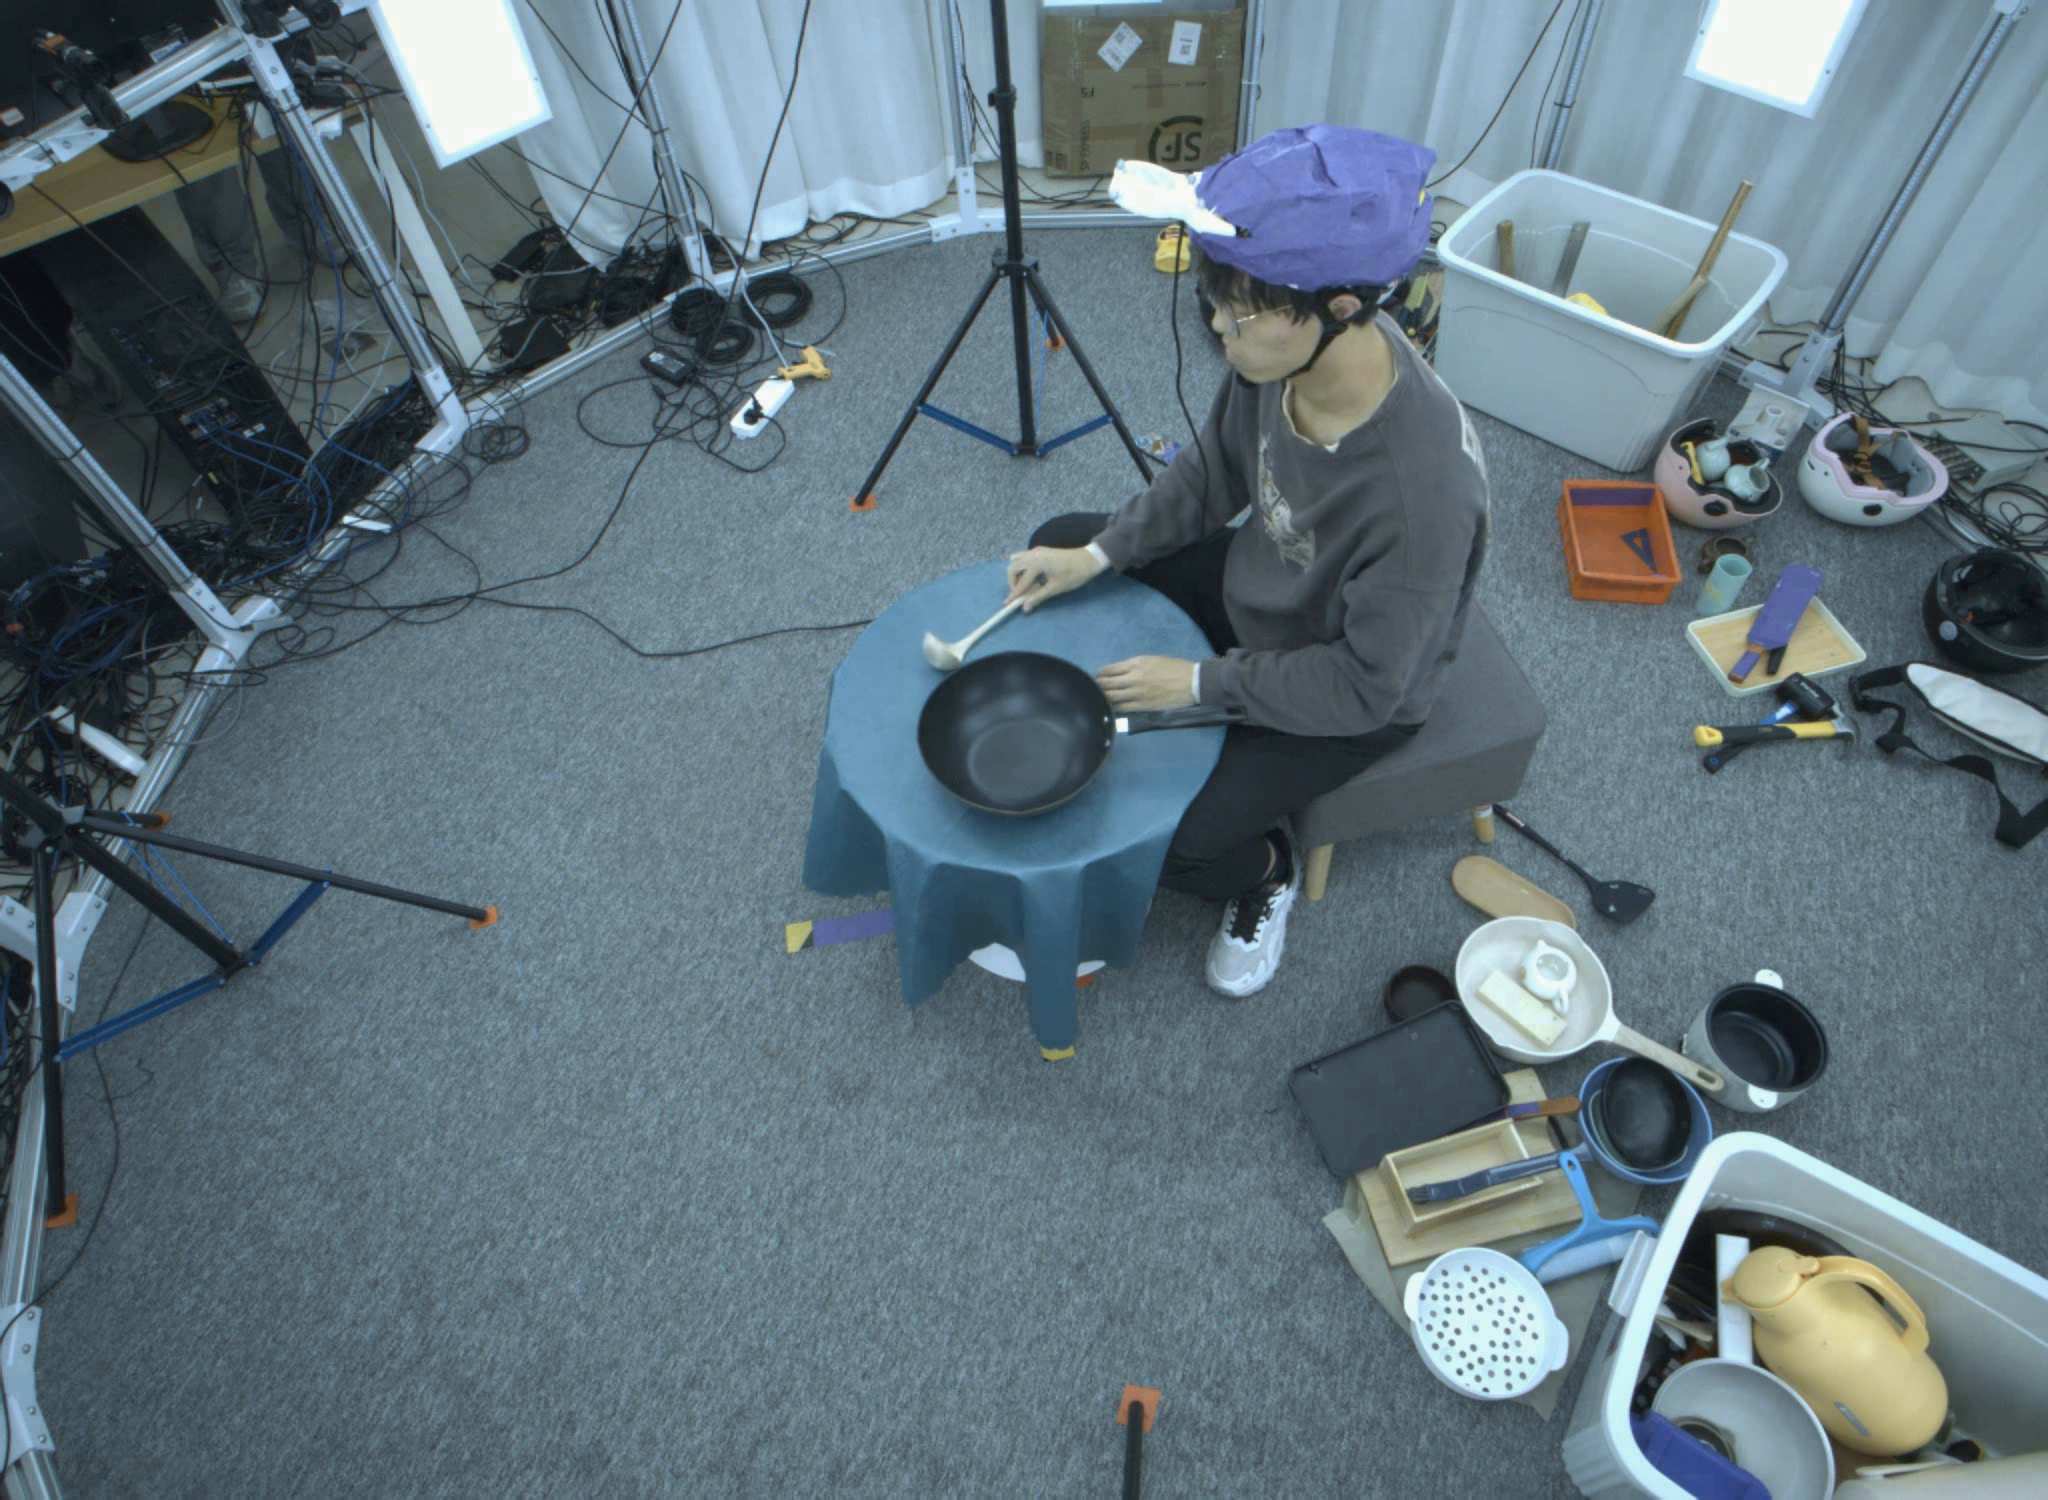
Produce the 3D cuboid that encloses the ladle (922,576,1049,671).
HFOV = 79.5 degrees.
[{"bbox_3d":[-0.052,-0.216,1.893,0.071,0.073,0.256,39,67,21],"label":"ladle"}]

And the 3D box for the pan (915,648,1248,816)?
[{"bbox_3d":[0.081,-0.017,1.743,0.464,0.088,0.285,-3,54,-1],"label":"pan"}]
